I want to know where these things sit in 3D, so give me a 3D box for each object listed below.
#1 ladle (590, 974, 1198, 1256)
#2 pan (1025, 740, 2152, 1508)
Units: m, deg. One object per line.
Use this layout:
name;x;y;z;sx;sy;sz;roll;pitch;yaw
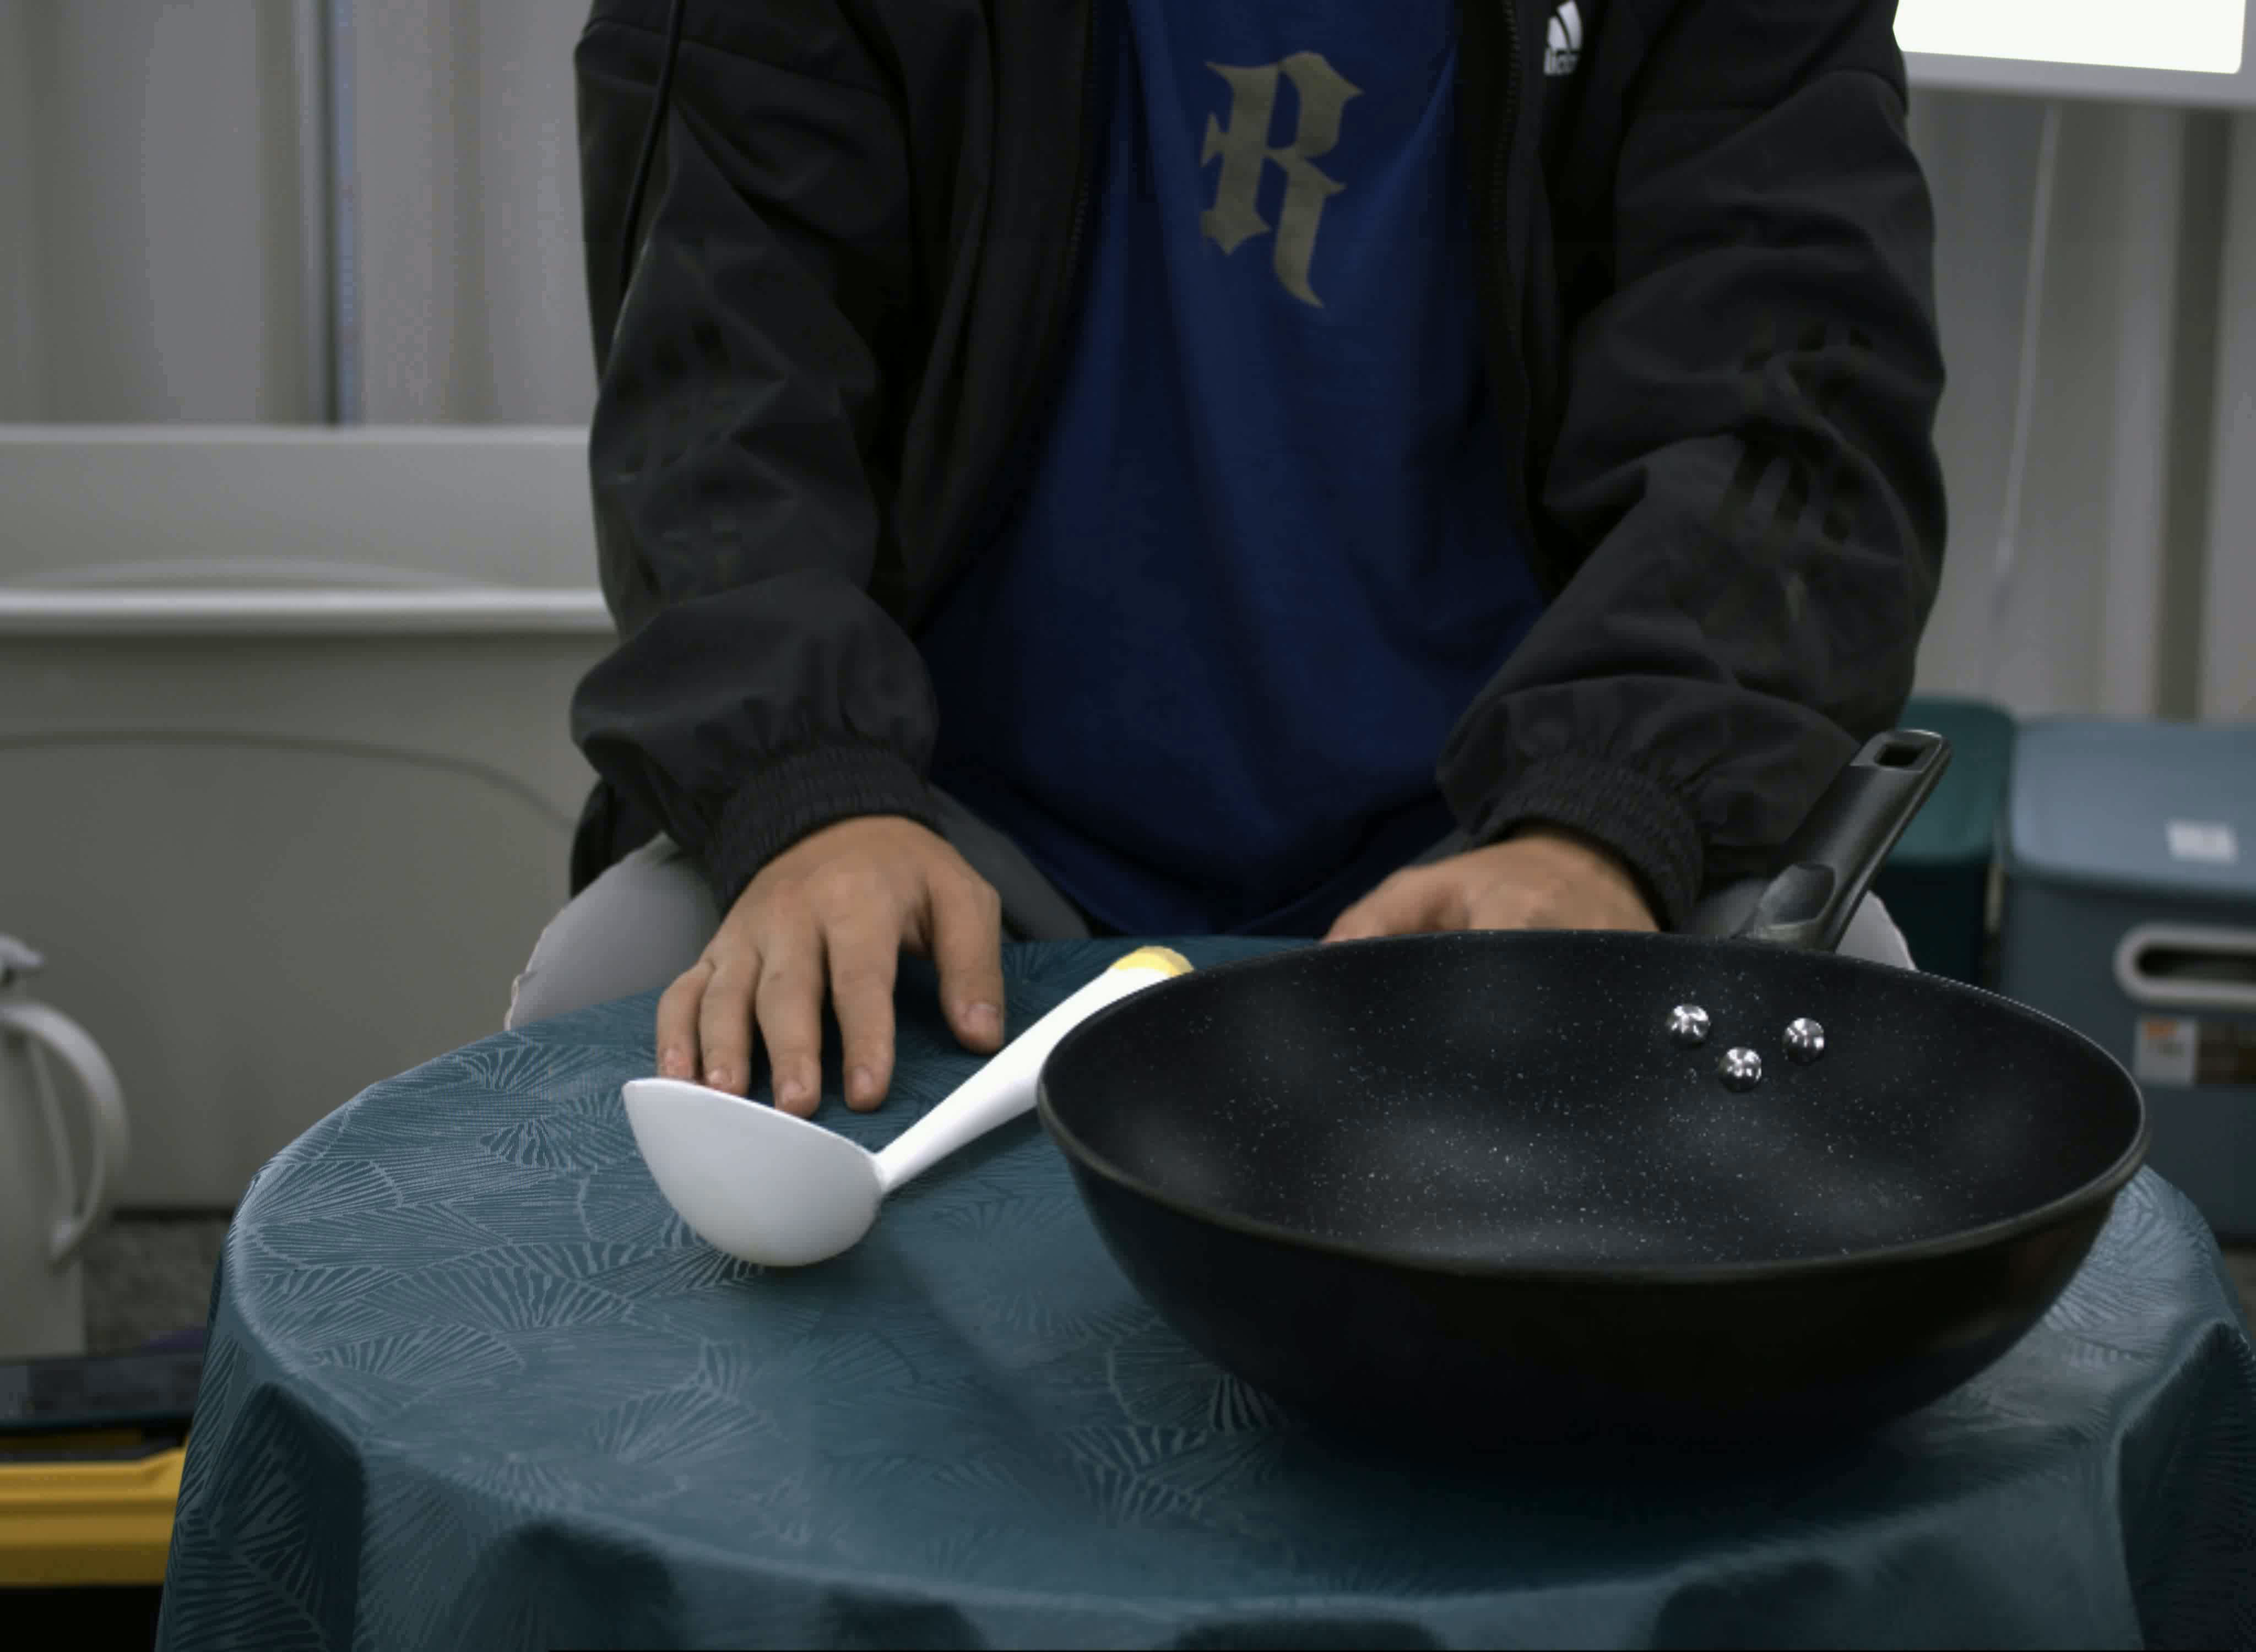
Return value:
ladle;-0.058;0.074;1.641;0.089;0.070;0.294;6;14;29
pan;0.159;0.084;1.534;0.307;0.112;0.477;9;18;22
